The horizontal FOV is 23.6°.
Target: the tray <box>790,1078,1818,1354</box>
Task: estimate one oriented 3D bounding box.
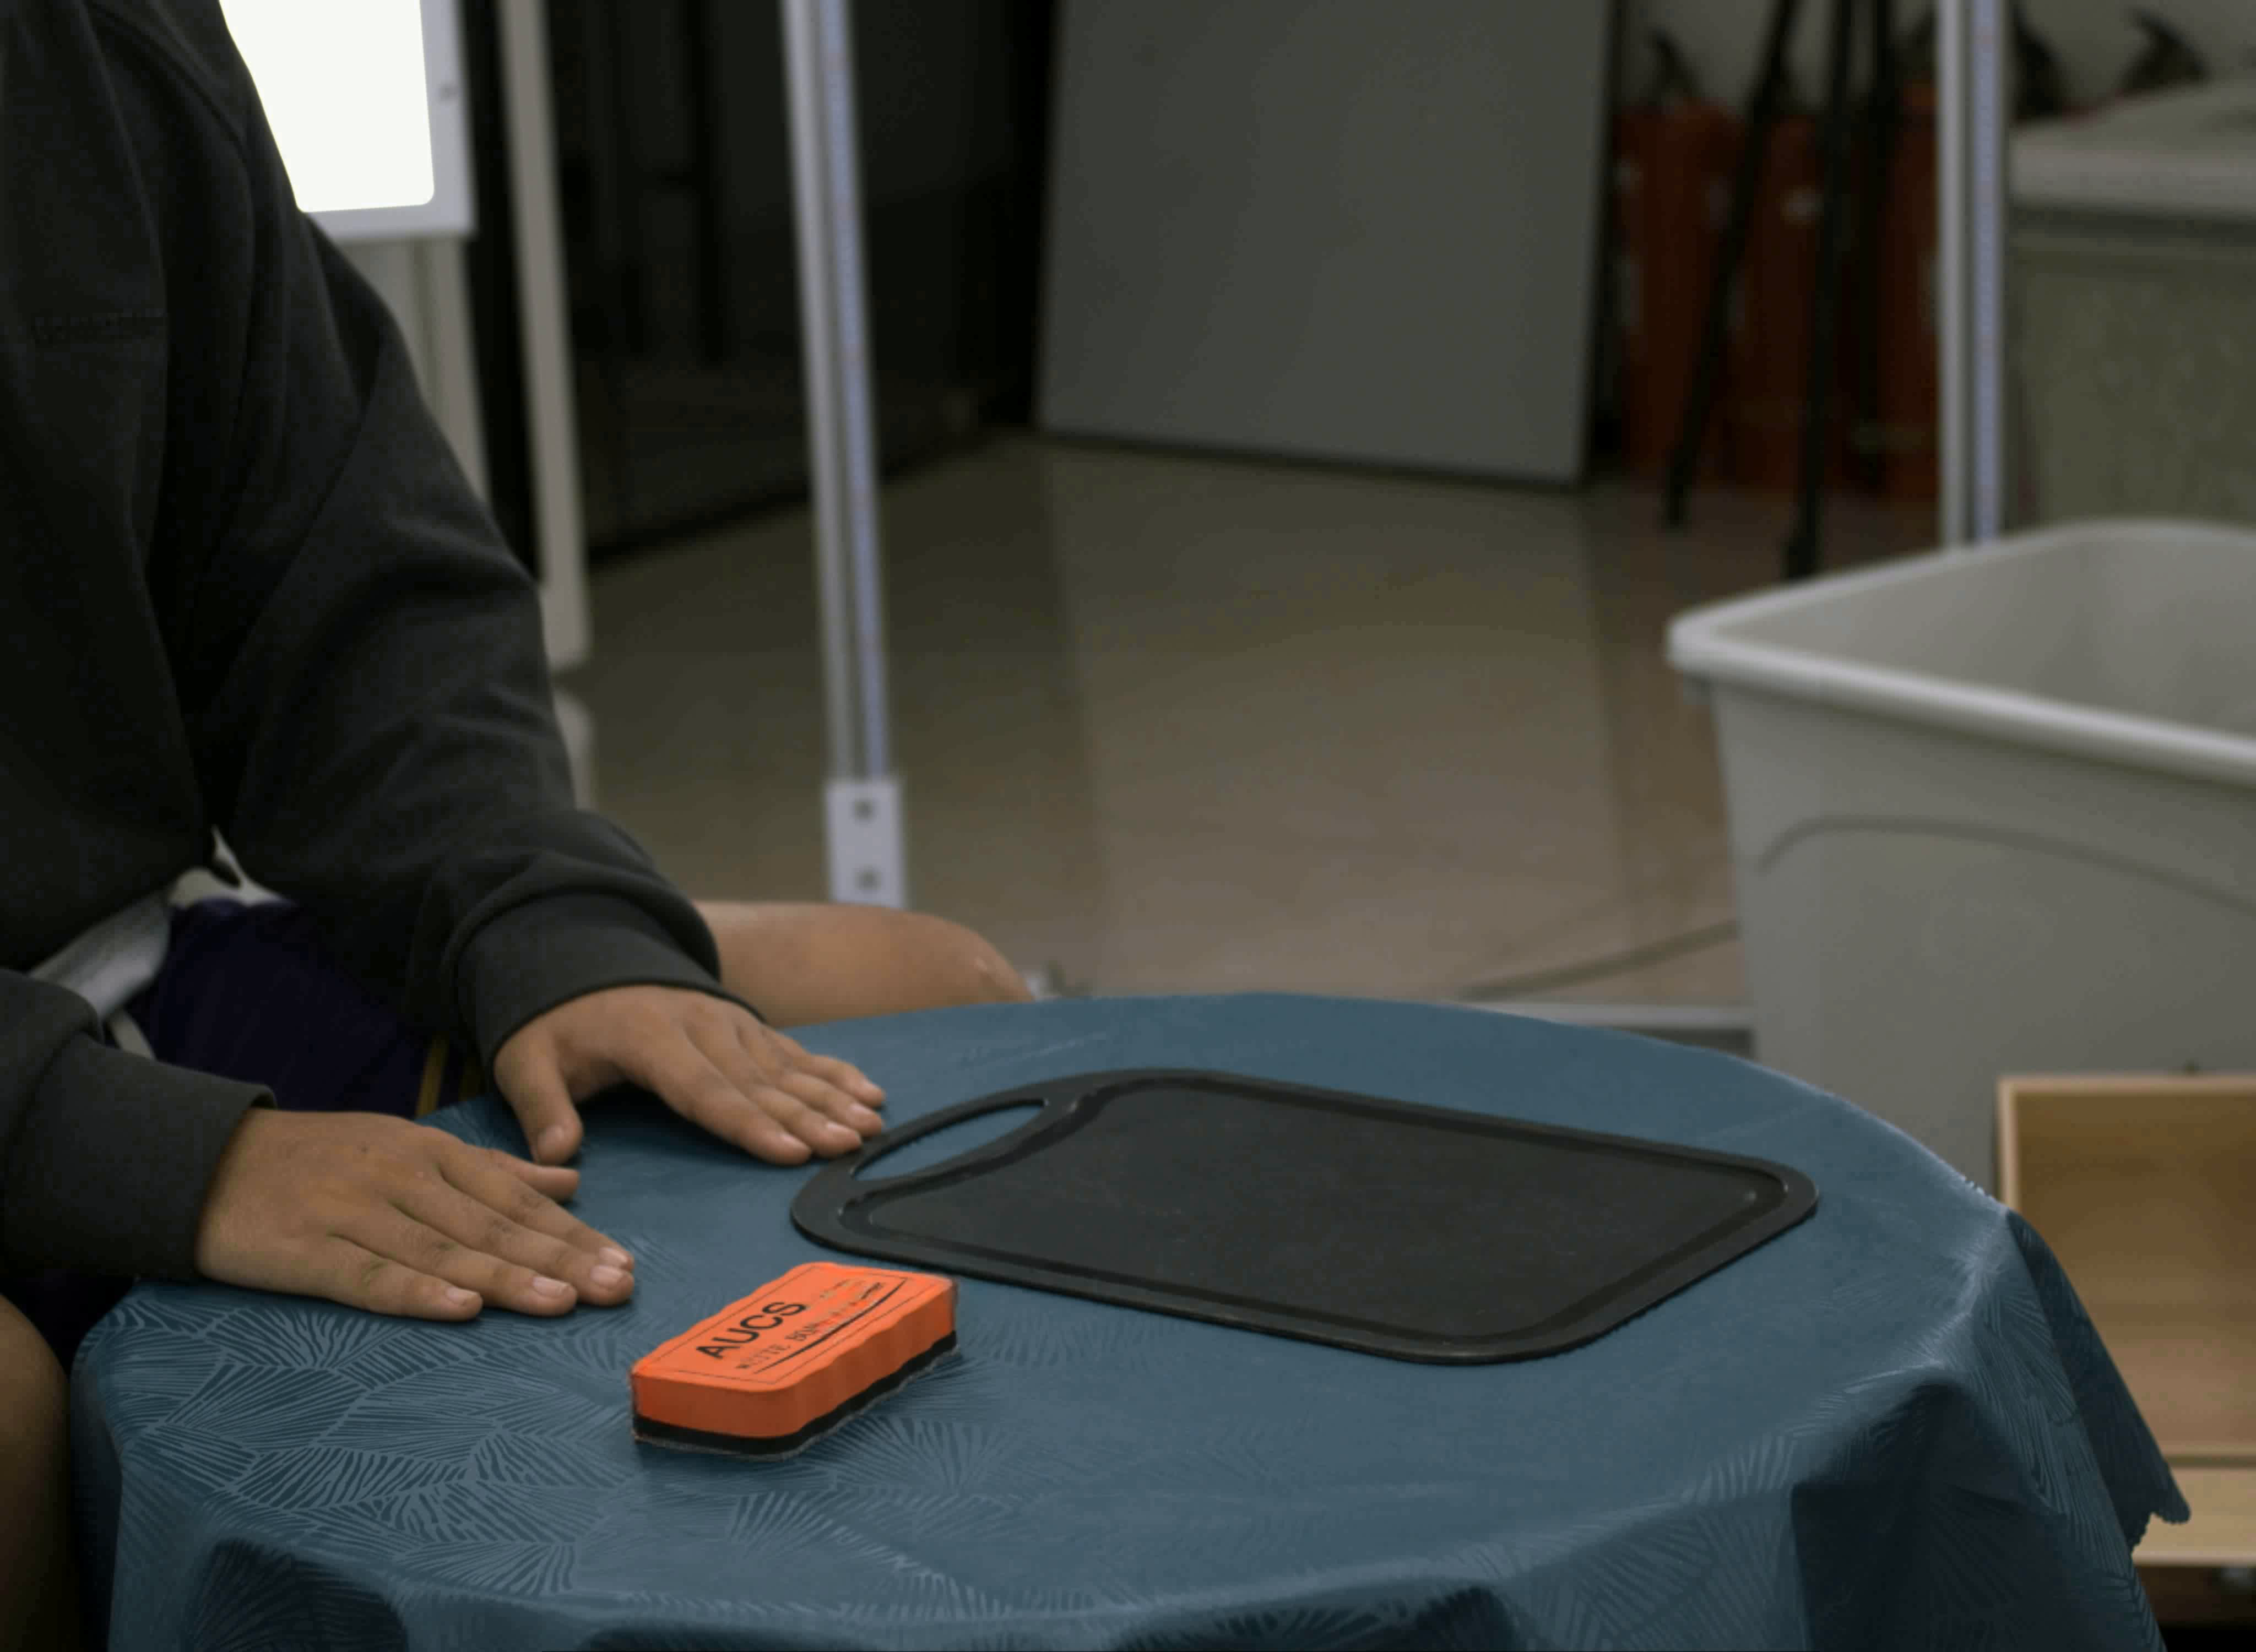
[{"bbox_3d":[0.048,0.121,1.743,0.328,0.010,0.207,7,17,38],"label":"tray"}]

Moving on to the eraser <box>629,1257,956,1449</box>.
[{"bbox_3d":[-0.098,0.155,1.596,0.059,0.023,0.106,5,15,29],"label":"eraser"}]
